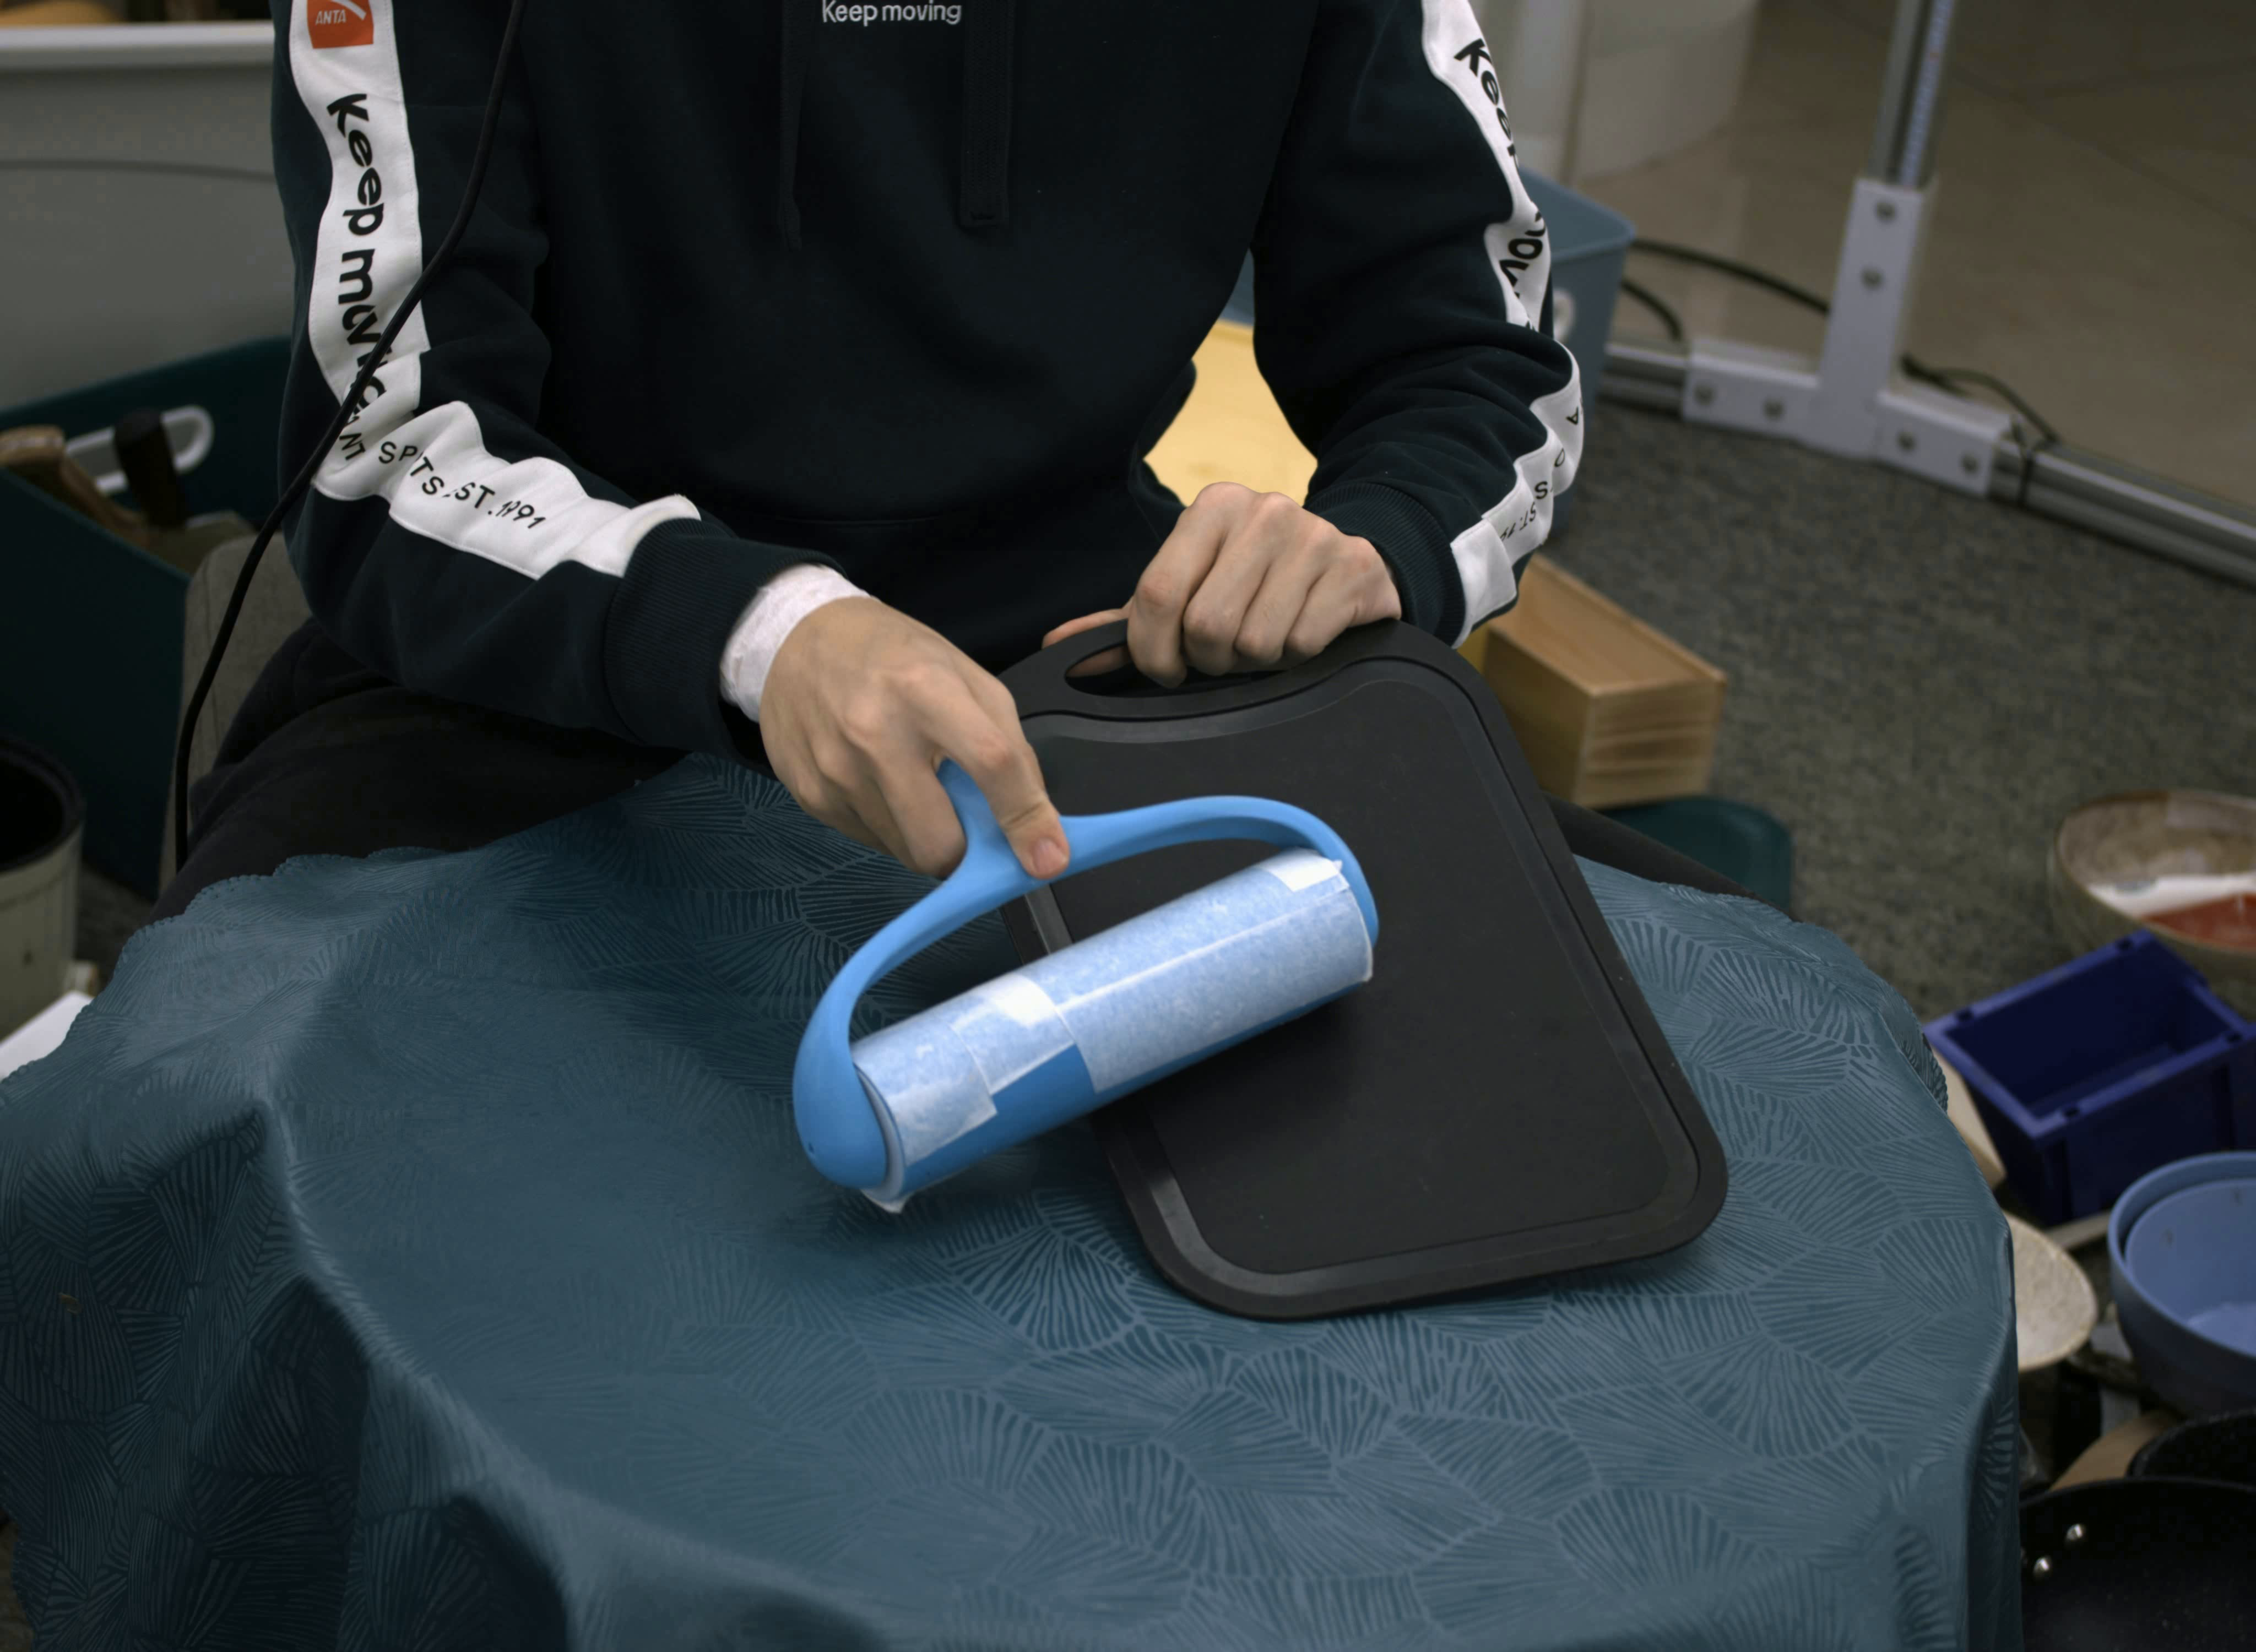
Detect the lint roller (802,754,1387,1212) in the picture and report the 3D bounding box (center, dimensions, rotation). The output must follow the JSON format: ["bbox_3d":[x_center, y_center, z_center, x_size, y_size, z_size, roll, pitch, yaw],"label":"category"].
[{"bbox_3d":[-0.043,0.026,1.814,0.228,0.067,0.181,-27,60,-27],"label":"lint roller"}]

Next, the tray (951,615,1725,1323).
[{"bbox_3d":[0.066,0.039,1.858,0.210,0.010,0.328,-9,48,-16],"label":"tray"}]
